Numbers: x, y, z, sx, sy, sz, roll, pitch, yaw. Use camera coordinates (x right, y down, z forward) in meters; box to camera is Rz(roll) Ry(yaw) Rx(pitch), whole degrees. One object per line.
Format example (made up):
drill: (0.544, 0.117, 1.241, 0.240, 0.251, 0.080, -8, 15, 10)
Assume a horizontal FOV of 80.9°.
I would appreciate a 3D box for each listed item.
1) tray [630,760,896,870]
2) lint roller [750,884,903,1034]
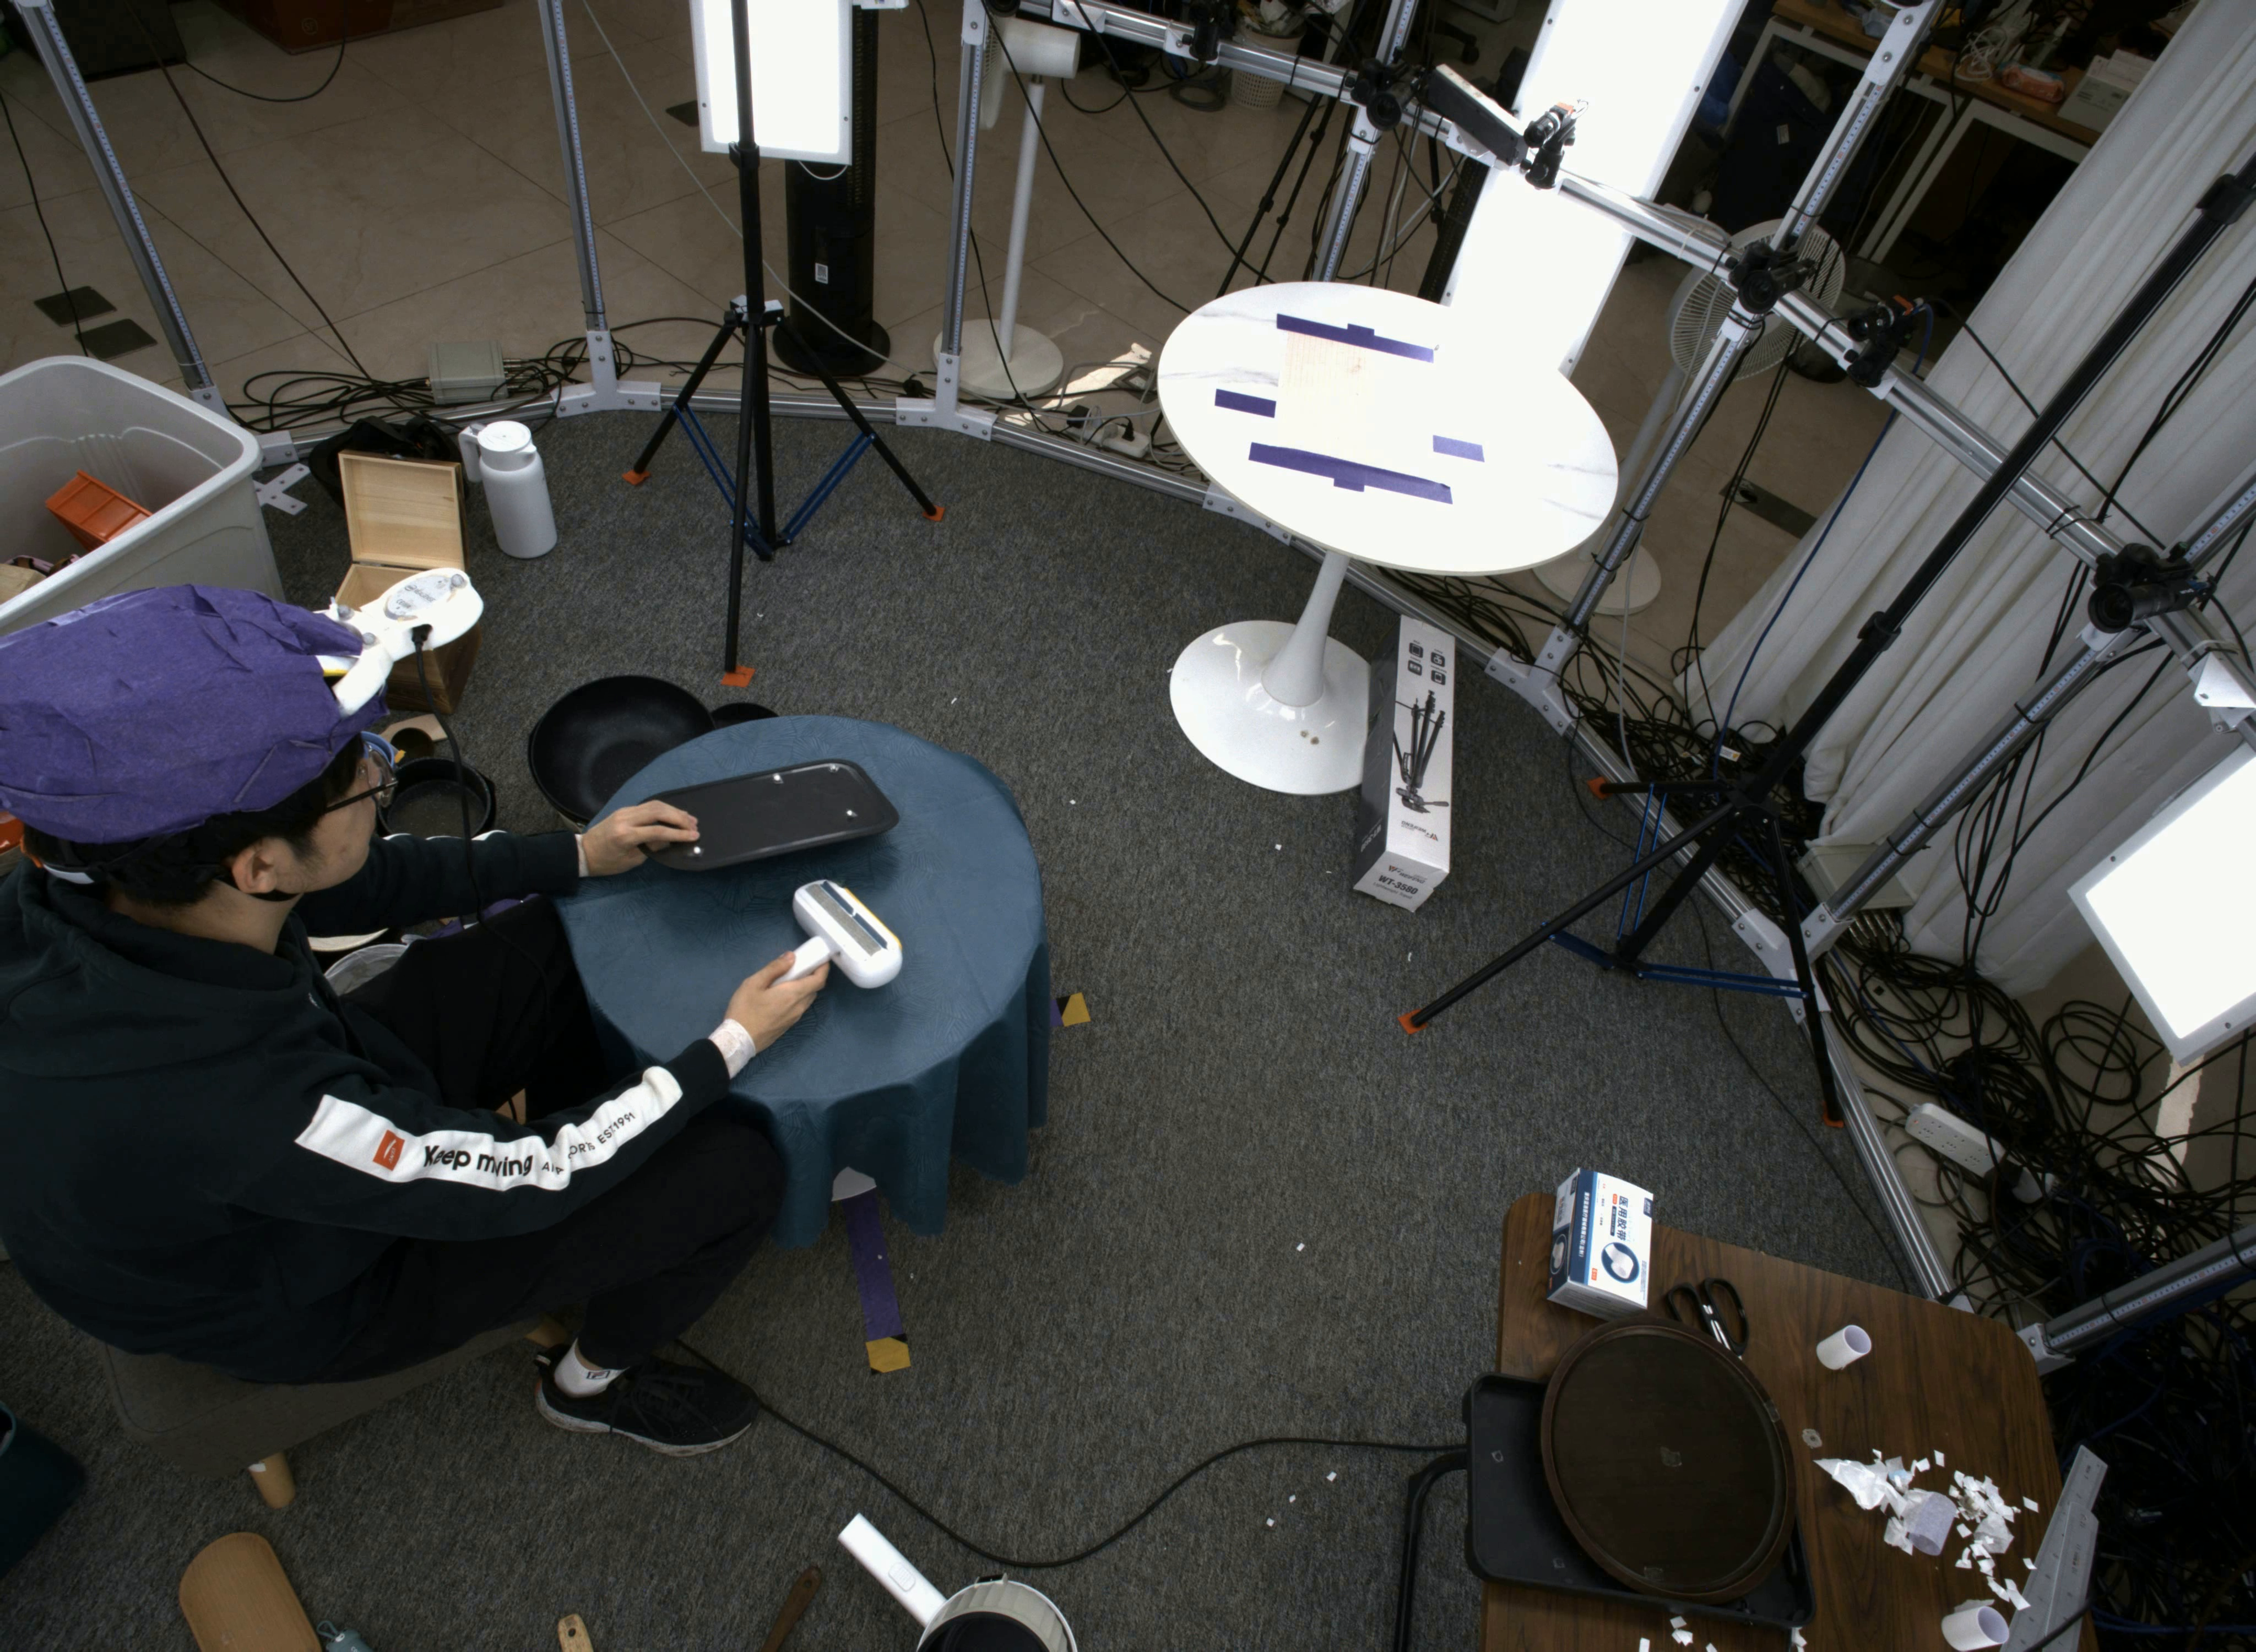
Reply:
tray: (-0.473, -0.020, 1.662, 0.328, 0.010, 0.203, -13, 36, -30)
lint roller: (-0.384, 0.173, 1.580, 0.192, 0.077, 0.186, -35, 49, -14)
